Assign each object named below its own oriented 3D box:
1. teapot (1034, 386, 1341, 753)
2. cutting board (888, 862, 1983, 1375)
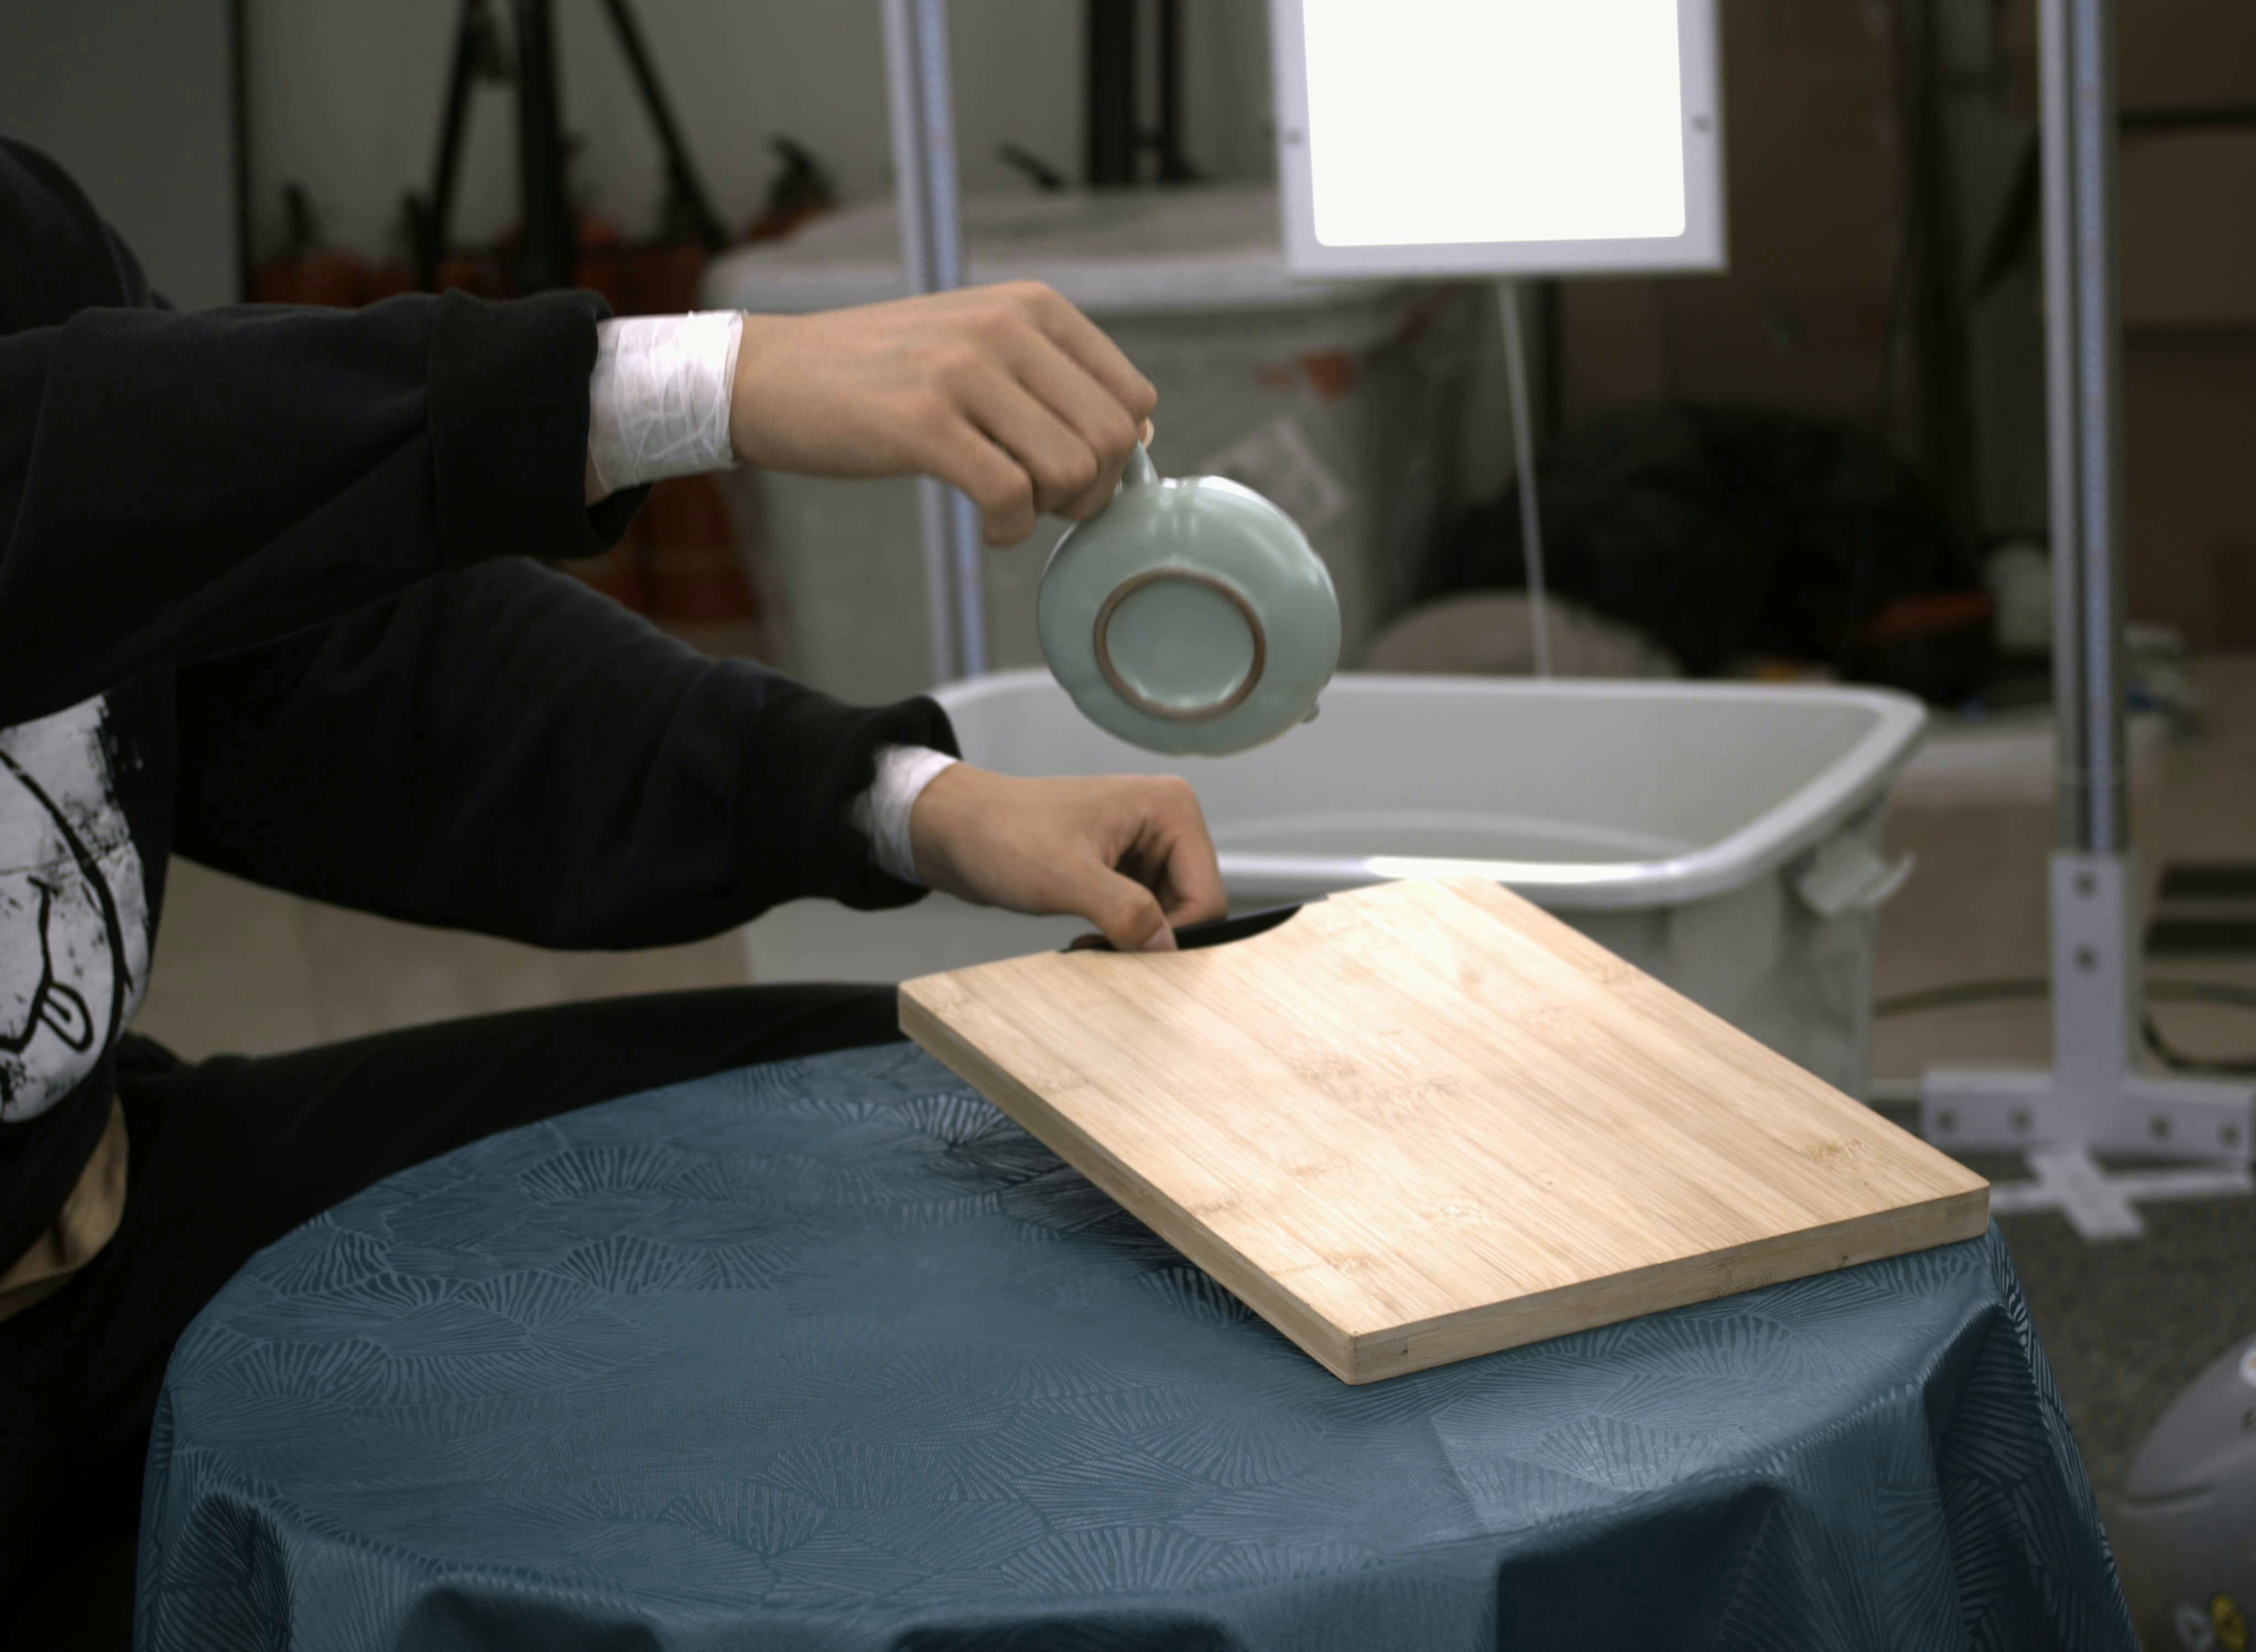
[{"bbox_3d":[0.018,-0.075,1.730,0.098,0.136,0.061,-24,24,24],"label":"teapot"},{"bbox_3d":[0.097,0.093,1.880,0.245,0.024,0.354,-12,22,-24],"label":"cutting board"}]
